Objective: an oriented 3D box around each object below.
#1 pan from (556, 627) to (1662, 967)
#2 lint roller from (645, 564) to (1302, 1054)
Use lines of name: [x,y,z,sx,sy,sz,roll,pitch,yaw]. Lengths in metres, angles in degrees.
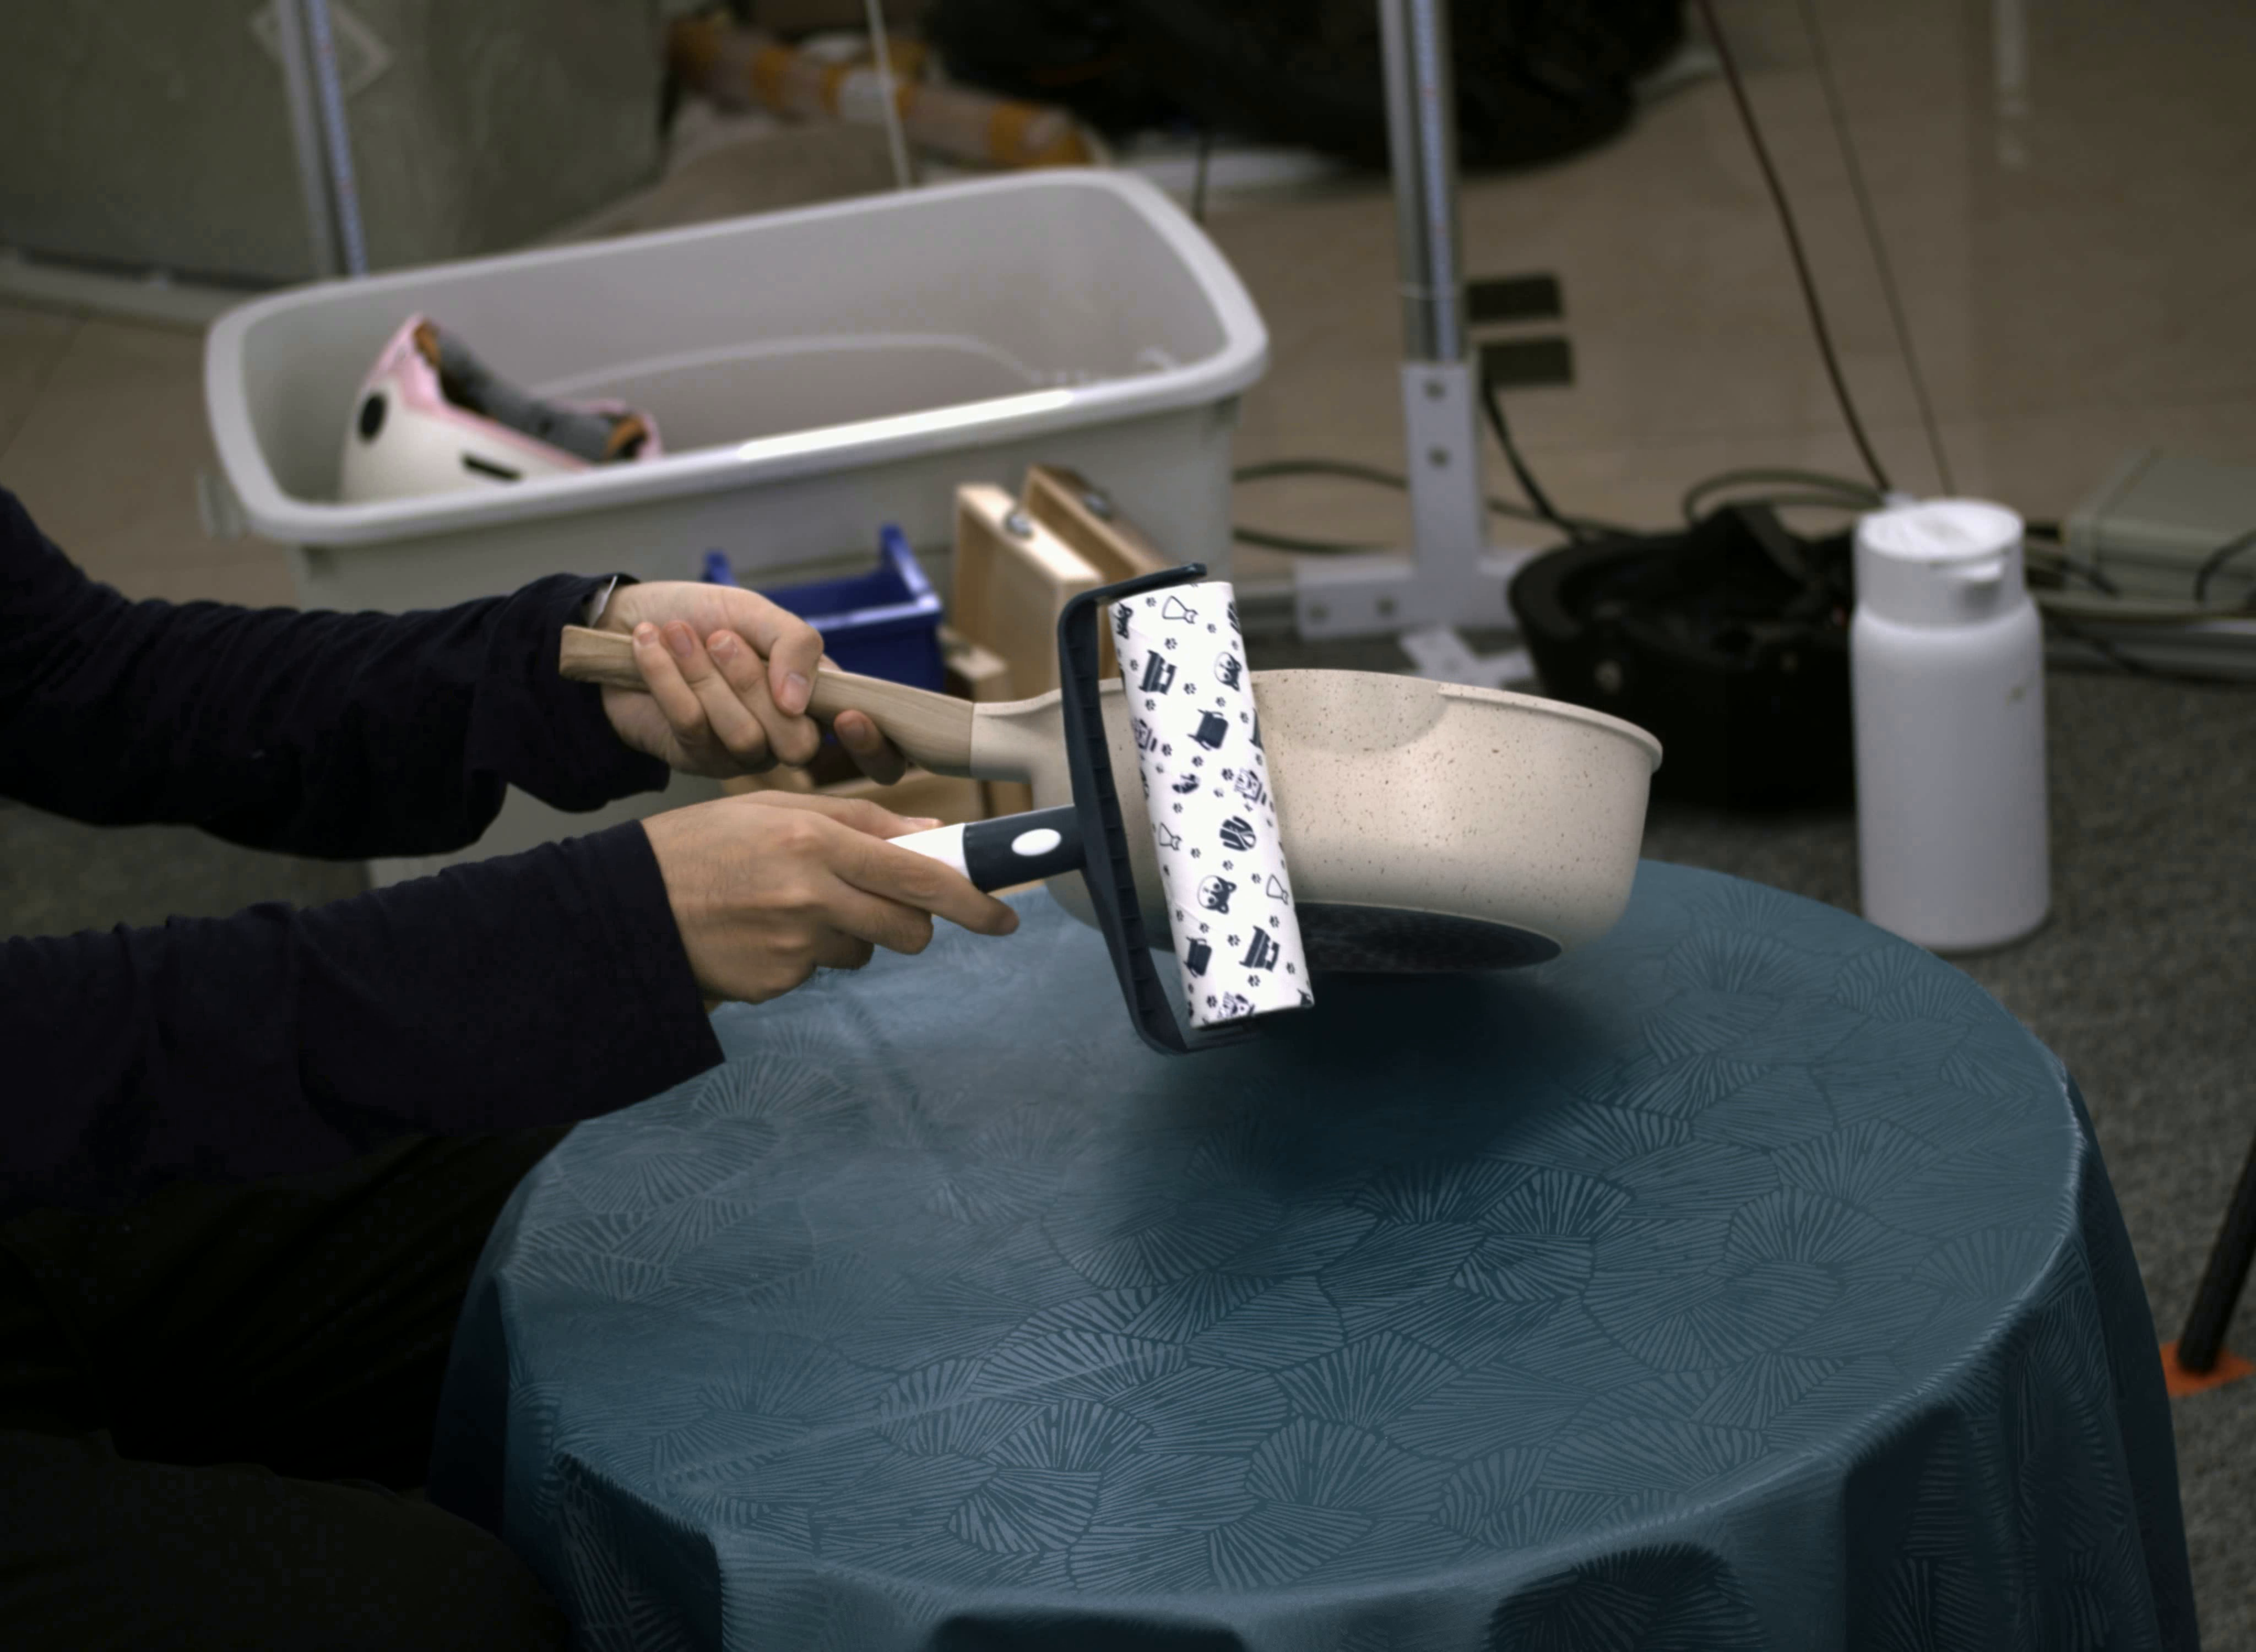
pan: [-0.010,-0.011,2.216,0.434,0.102,0.264,4,-7,0]
lint roller: [-0.067,0.016,2.104,0.247,0.176,0.050,-14,-3,15]
